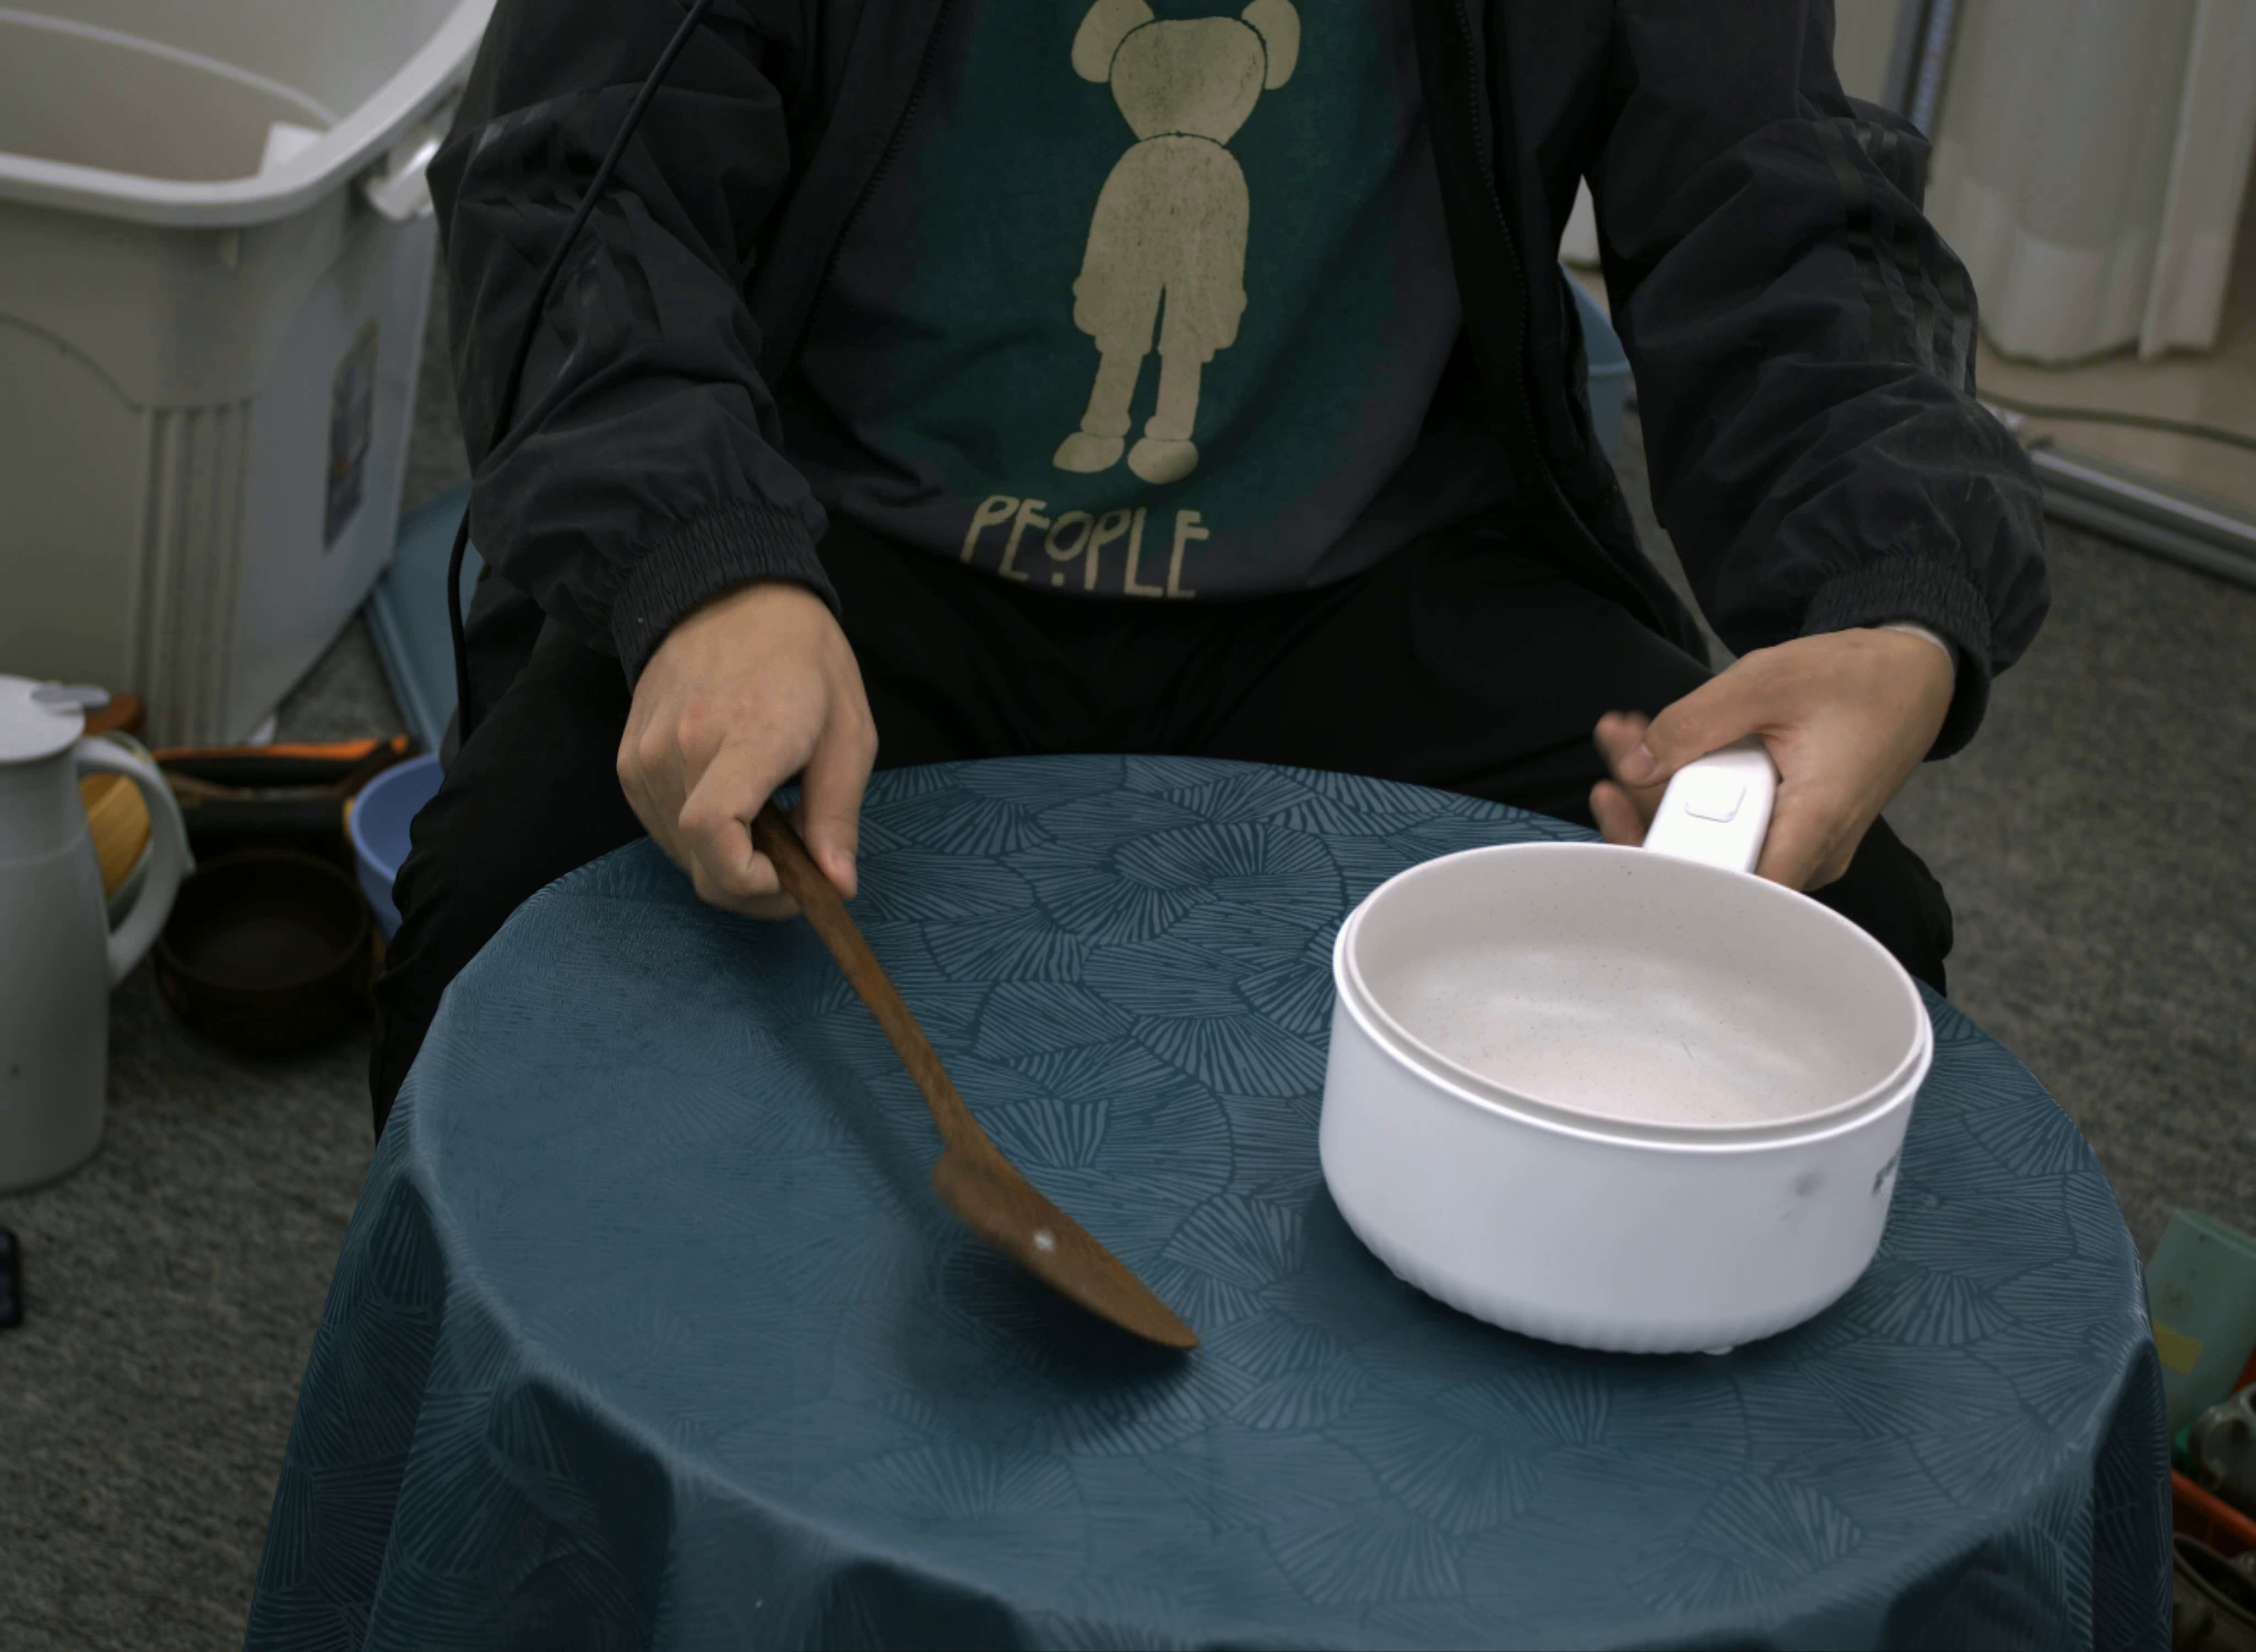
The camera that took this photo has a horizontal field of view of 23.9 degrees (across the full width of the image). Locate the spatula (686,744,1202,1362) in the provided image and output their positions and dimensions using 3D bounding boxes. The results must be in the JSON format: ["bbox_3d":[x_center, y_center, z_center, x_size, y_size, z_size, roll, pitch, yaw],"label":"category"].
[{"bbox_3d":[-0.081,0.068,1.826,0.095,0.016,0.389,23,18,-35],"label":"spatula"}]

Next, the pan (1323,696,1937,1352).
[{"bbox_3d":[0.186,0.064,1.856,0.201,0.102,0.355,12,26,12],"label":"pan"}]
